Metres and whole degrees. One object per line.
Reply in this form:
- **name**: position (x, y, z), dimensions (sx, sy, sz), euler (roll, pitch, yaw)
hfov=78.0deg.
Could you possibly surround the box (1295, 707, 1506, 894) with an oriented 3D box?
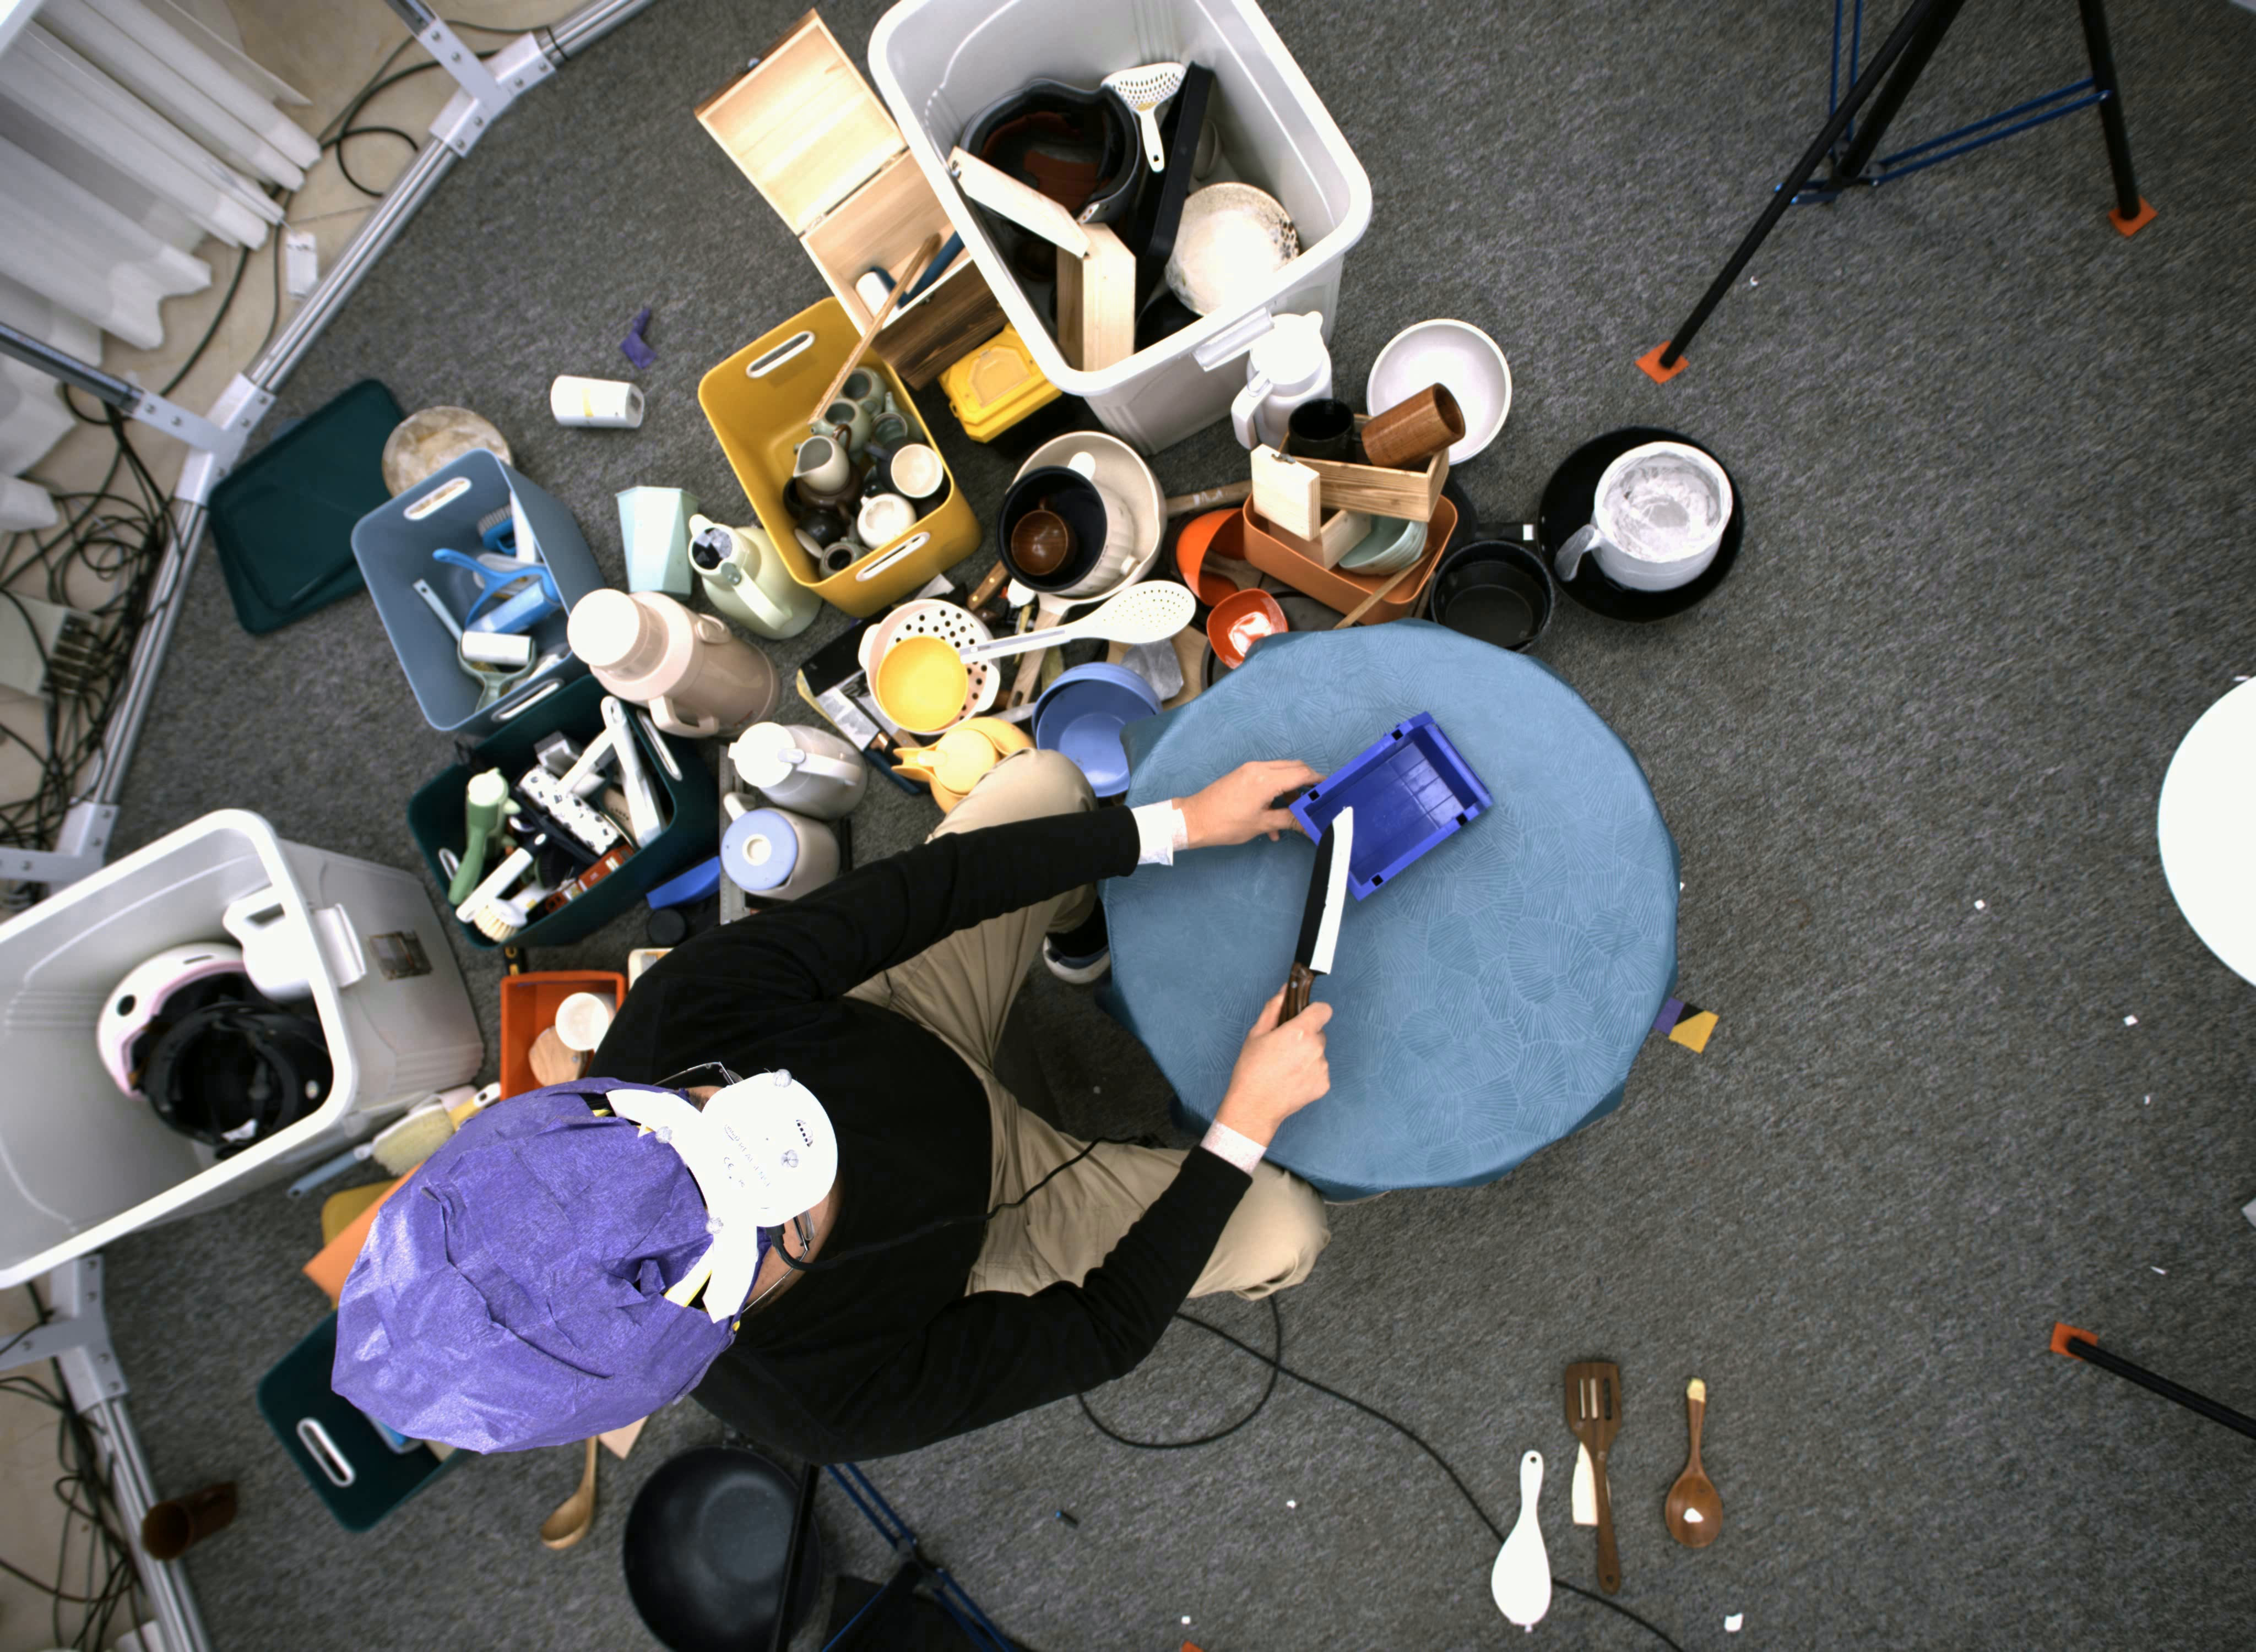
- **box**: position (0.281, -0.030, 1.422), dimensions (0.180, 0.082, 0.124), euler (-35, 80, 9)

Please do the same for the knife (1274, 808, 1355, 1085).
- **knife**: position (0.188, 0.121, 1.386), dimensions (0.050, 0.020, 0.289), euler (16, 94, 41)
